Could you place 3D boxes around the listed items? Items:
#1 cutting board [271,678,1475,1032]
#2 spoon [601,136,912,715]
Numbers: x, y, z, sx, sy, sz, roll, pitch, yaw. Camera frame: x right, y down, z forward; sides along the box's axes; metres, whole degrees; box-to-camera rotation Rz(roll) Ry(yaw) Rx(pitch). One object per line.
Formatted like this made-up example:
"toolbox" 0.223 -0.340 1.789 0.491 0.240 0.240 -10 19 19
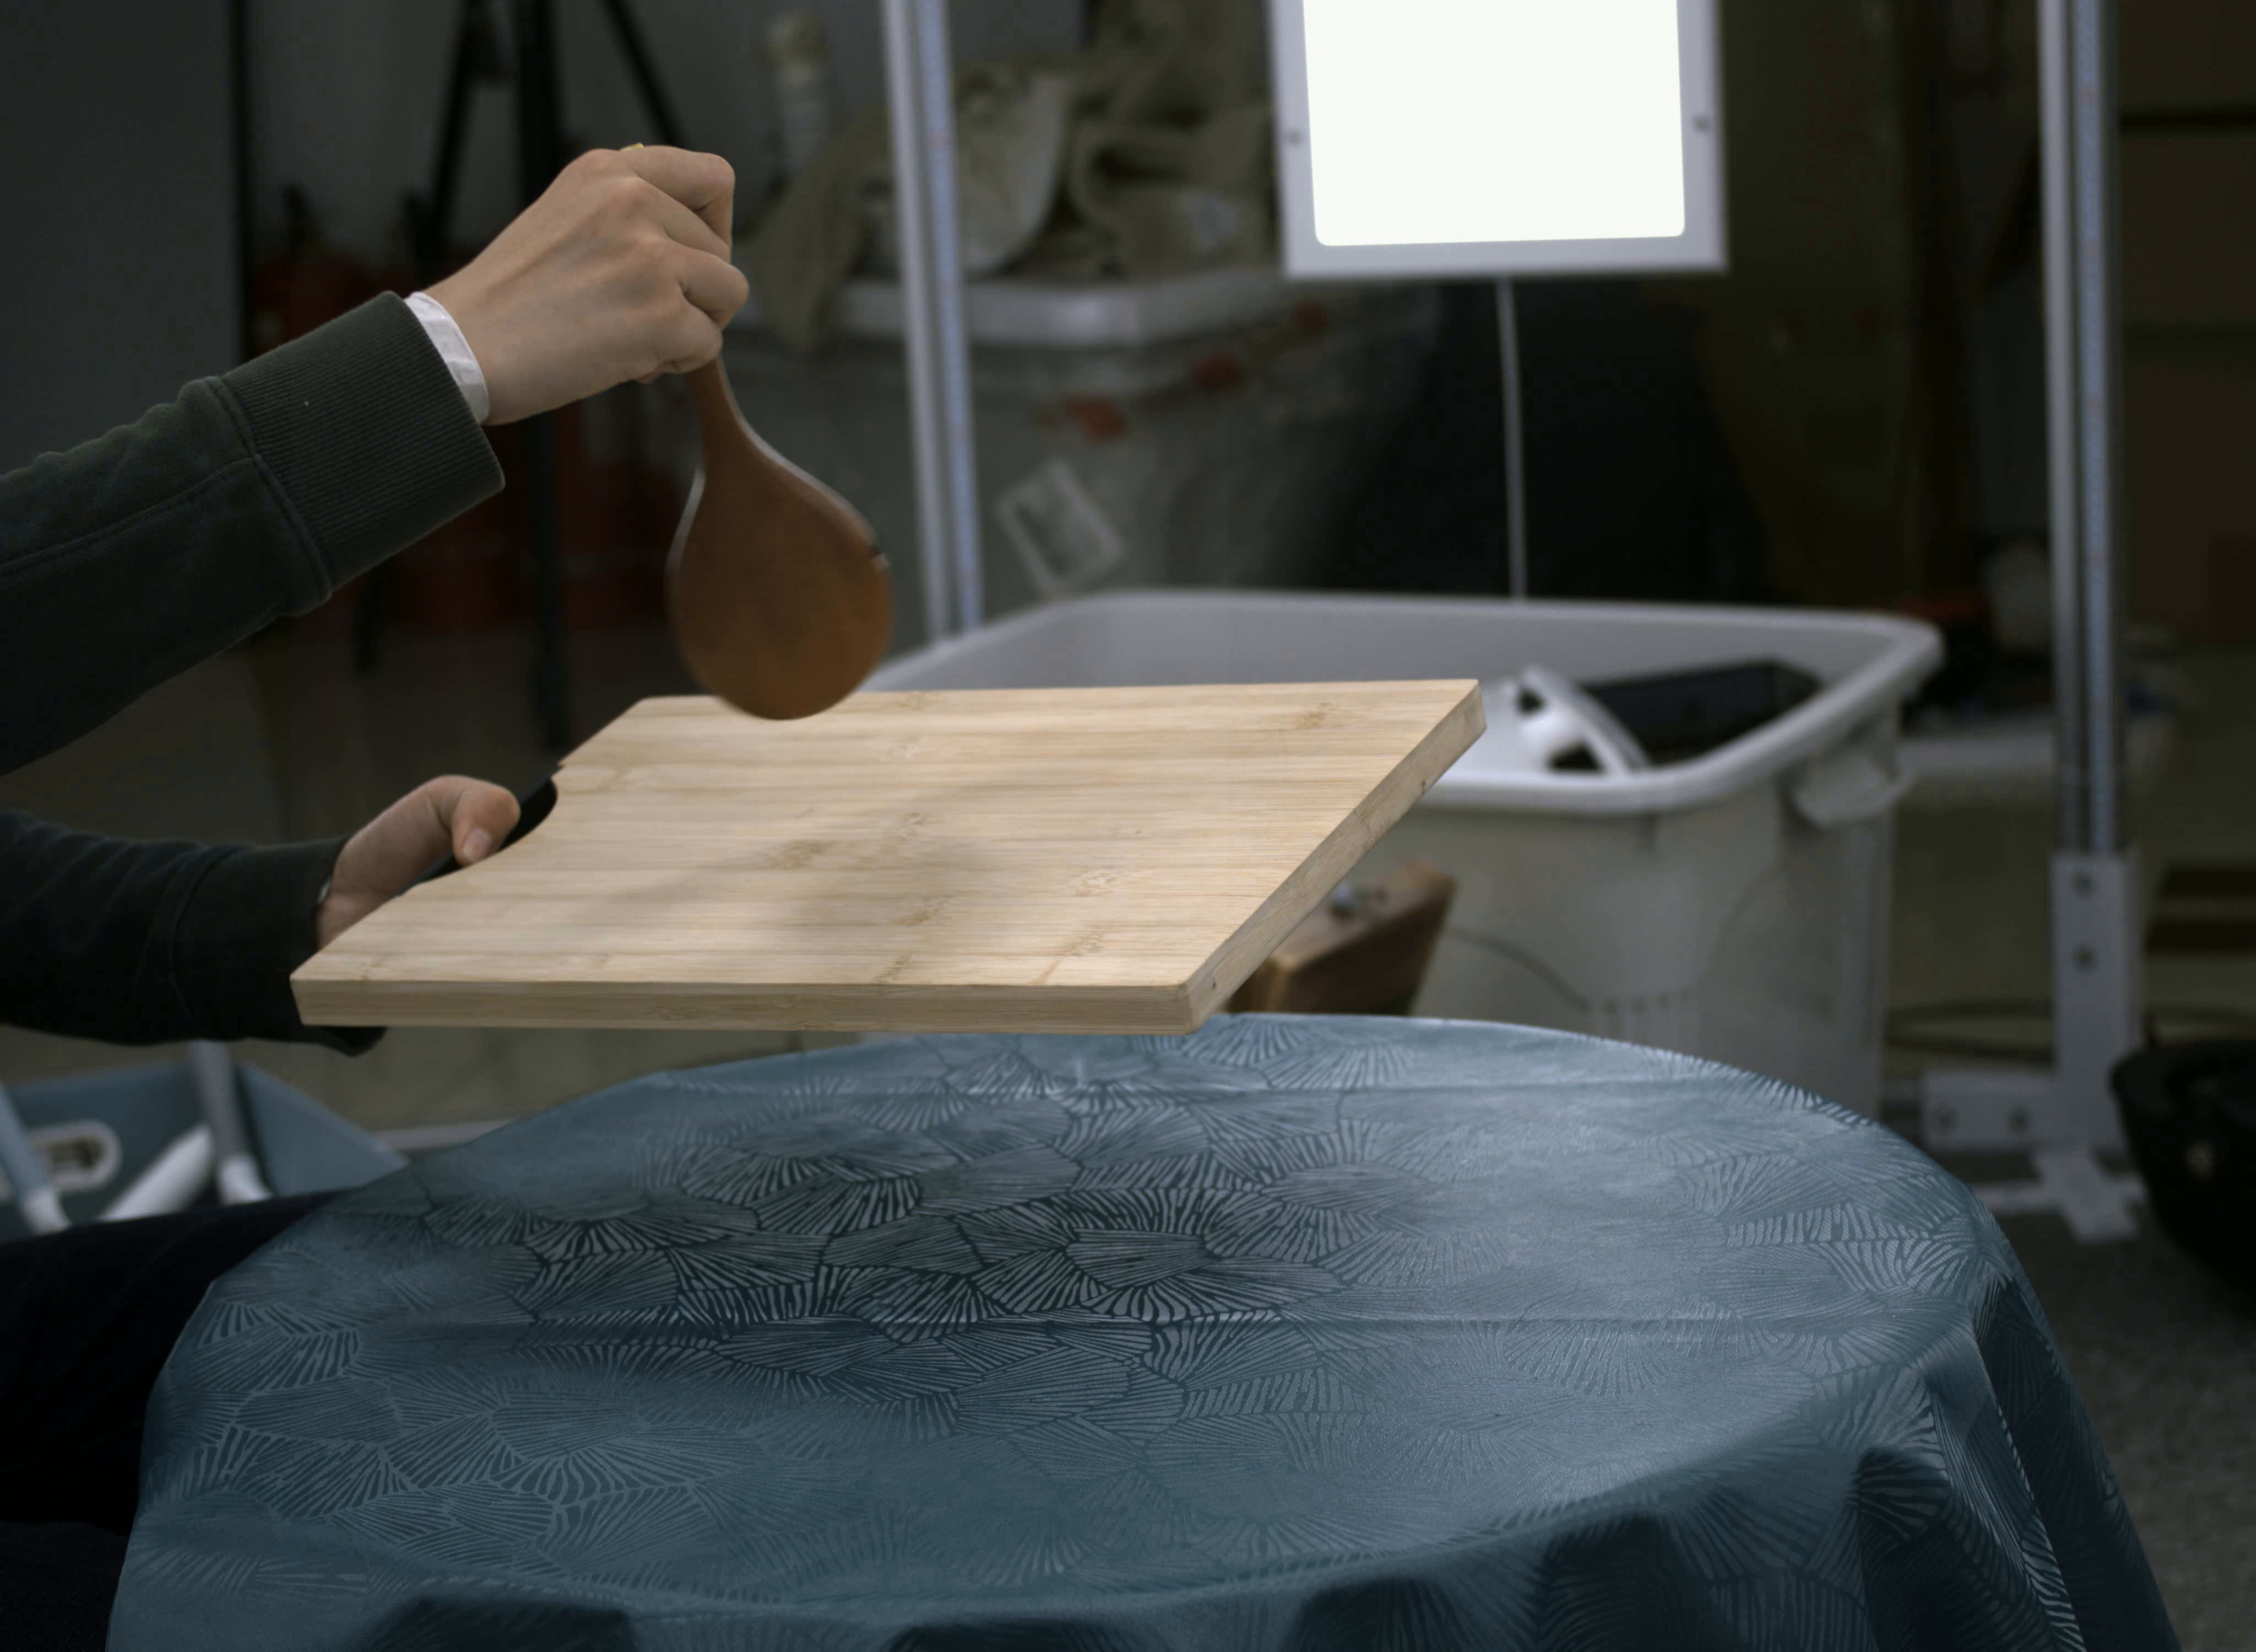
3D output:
"cutting board" -0.084 0.009 1.853 0.355 0.023 0.245 -1 23 29
"spoon" -0.127 -0.126 1.790 0.075 0.215 0.017 -20 30 0
